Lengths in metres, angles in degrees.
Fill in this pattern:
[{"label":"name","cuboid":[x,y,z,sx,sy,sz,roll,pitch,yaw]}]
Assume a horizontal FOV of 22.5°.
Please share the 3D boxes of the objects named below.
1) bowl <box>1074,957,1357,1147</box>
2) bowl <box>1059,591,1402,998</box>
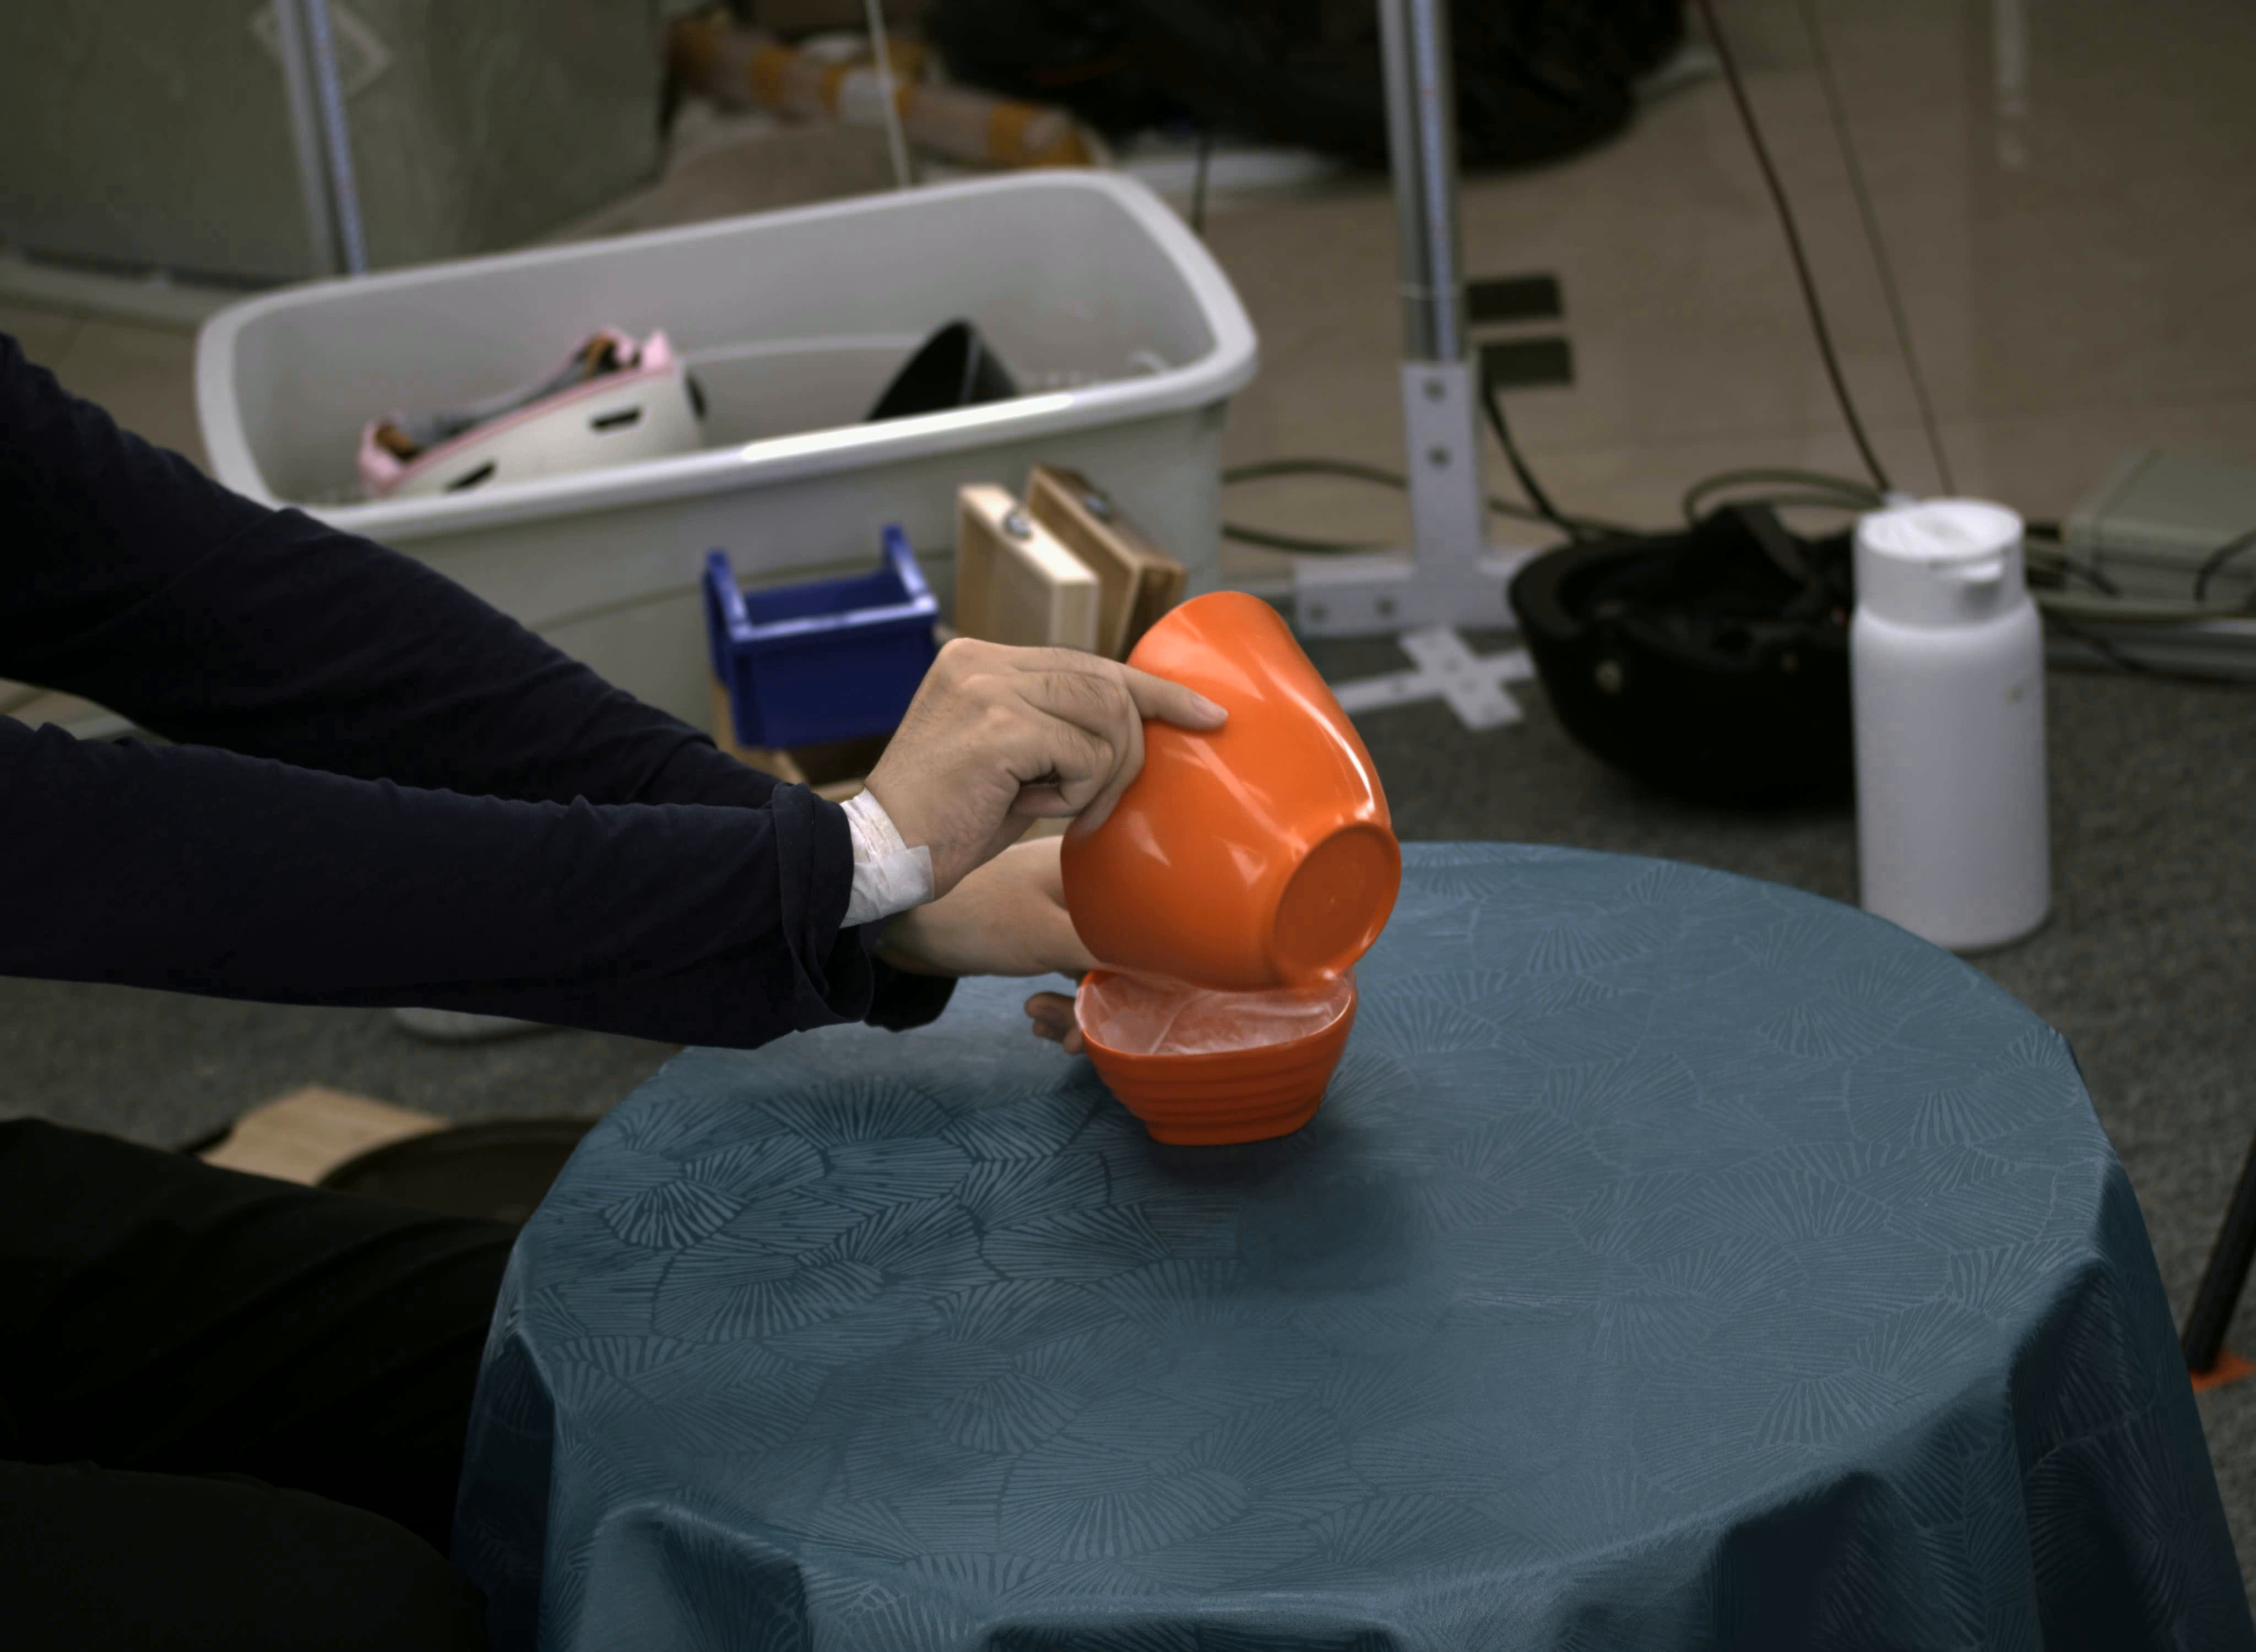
[{"label":"bowl","cuboid":[0.036,0.086,2.197,0.119,0.052,0.117,-5,26,3]},{"label":"bowl","cuboid":[0.050,0.000,2.089,0.147,0.151,0.103,-25,45,-35]}]
